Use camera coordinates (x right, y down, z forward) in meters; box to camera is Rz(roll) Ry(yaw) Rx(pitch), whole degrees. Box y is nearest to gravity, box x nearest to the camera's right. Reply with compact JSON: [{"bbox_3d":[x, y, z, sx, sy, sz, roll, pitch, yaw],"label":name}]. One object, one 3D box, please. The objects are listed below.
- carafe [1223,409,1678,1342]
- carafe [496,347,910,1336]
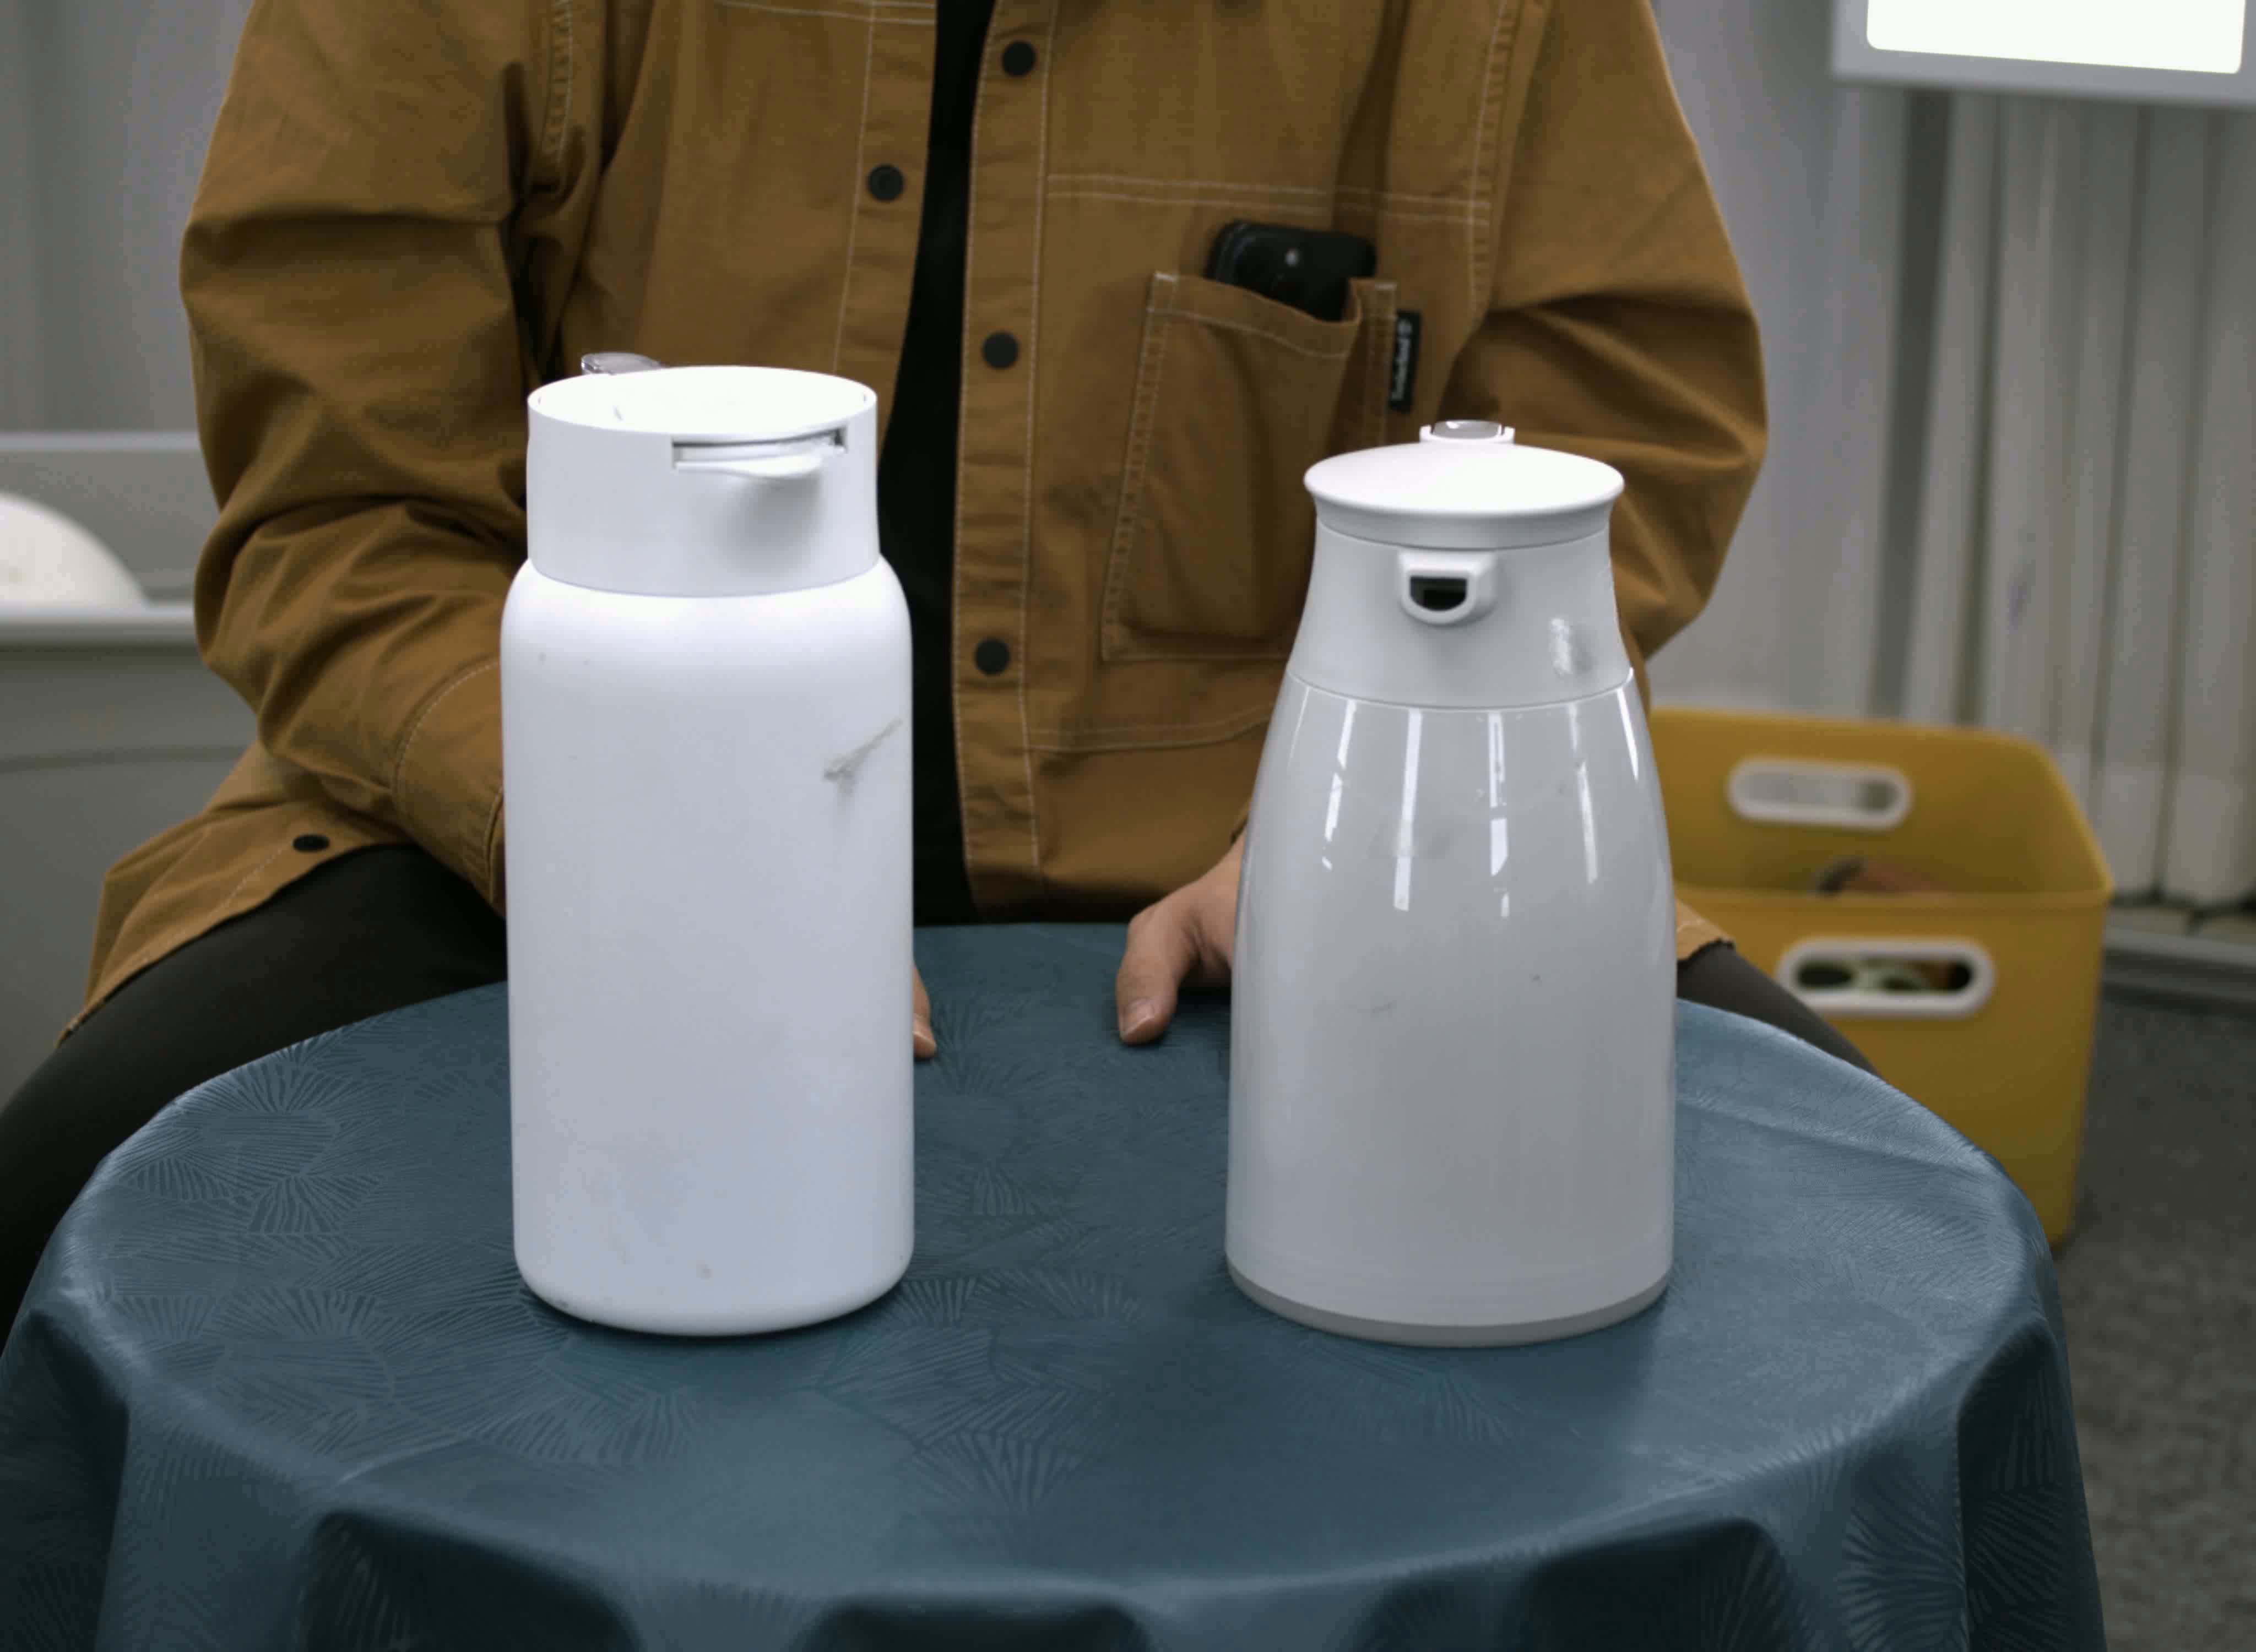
[{"bbox_3d":[0.097,0.006,1.541,0.132,0.250,0.167,3,16,8],"label":"carafe"},{"bbox_3d":[-0.130,0.000,1.521,0.124,0.271,0.170,-10,19,-27],"label":"carafe"}]
